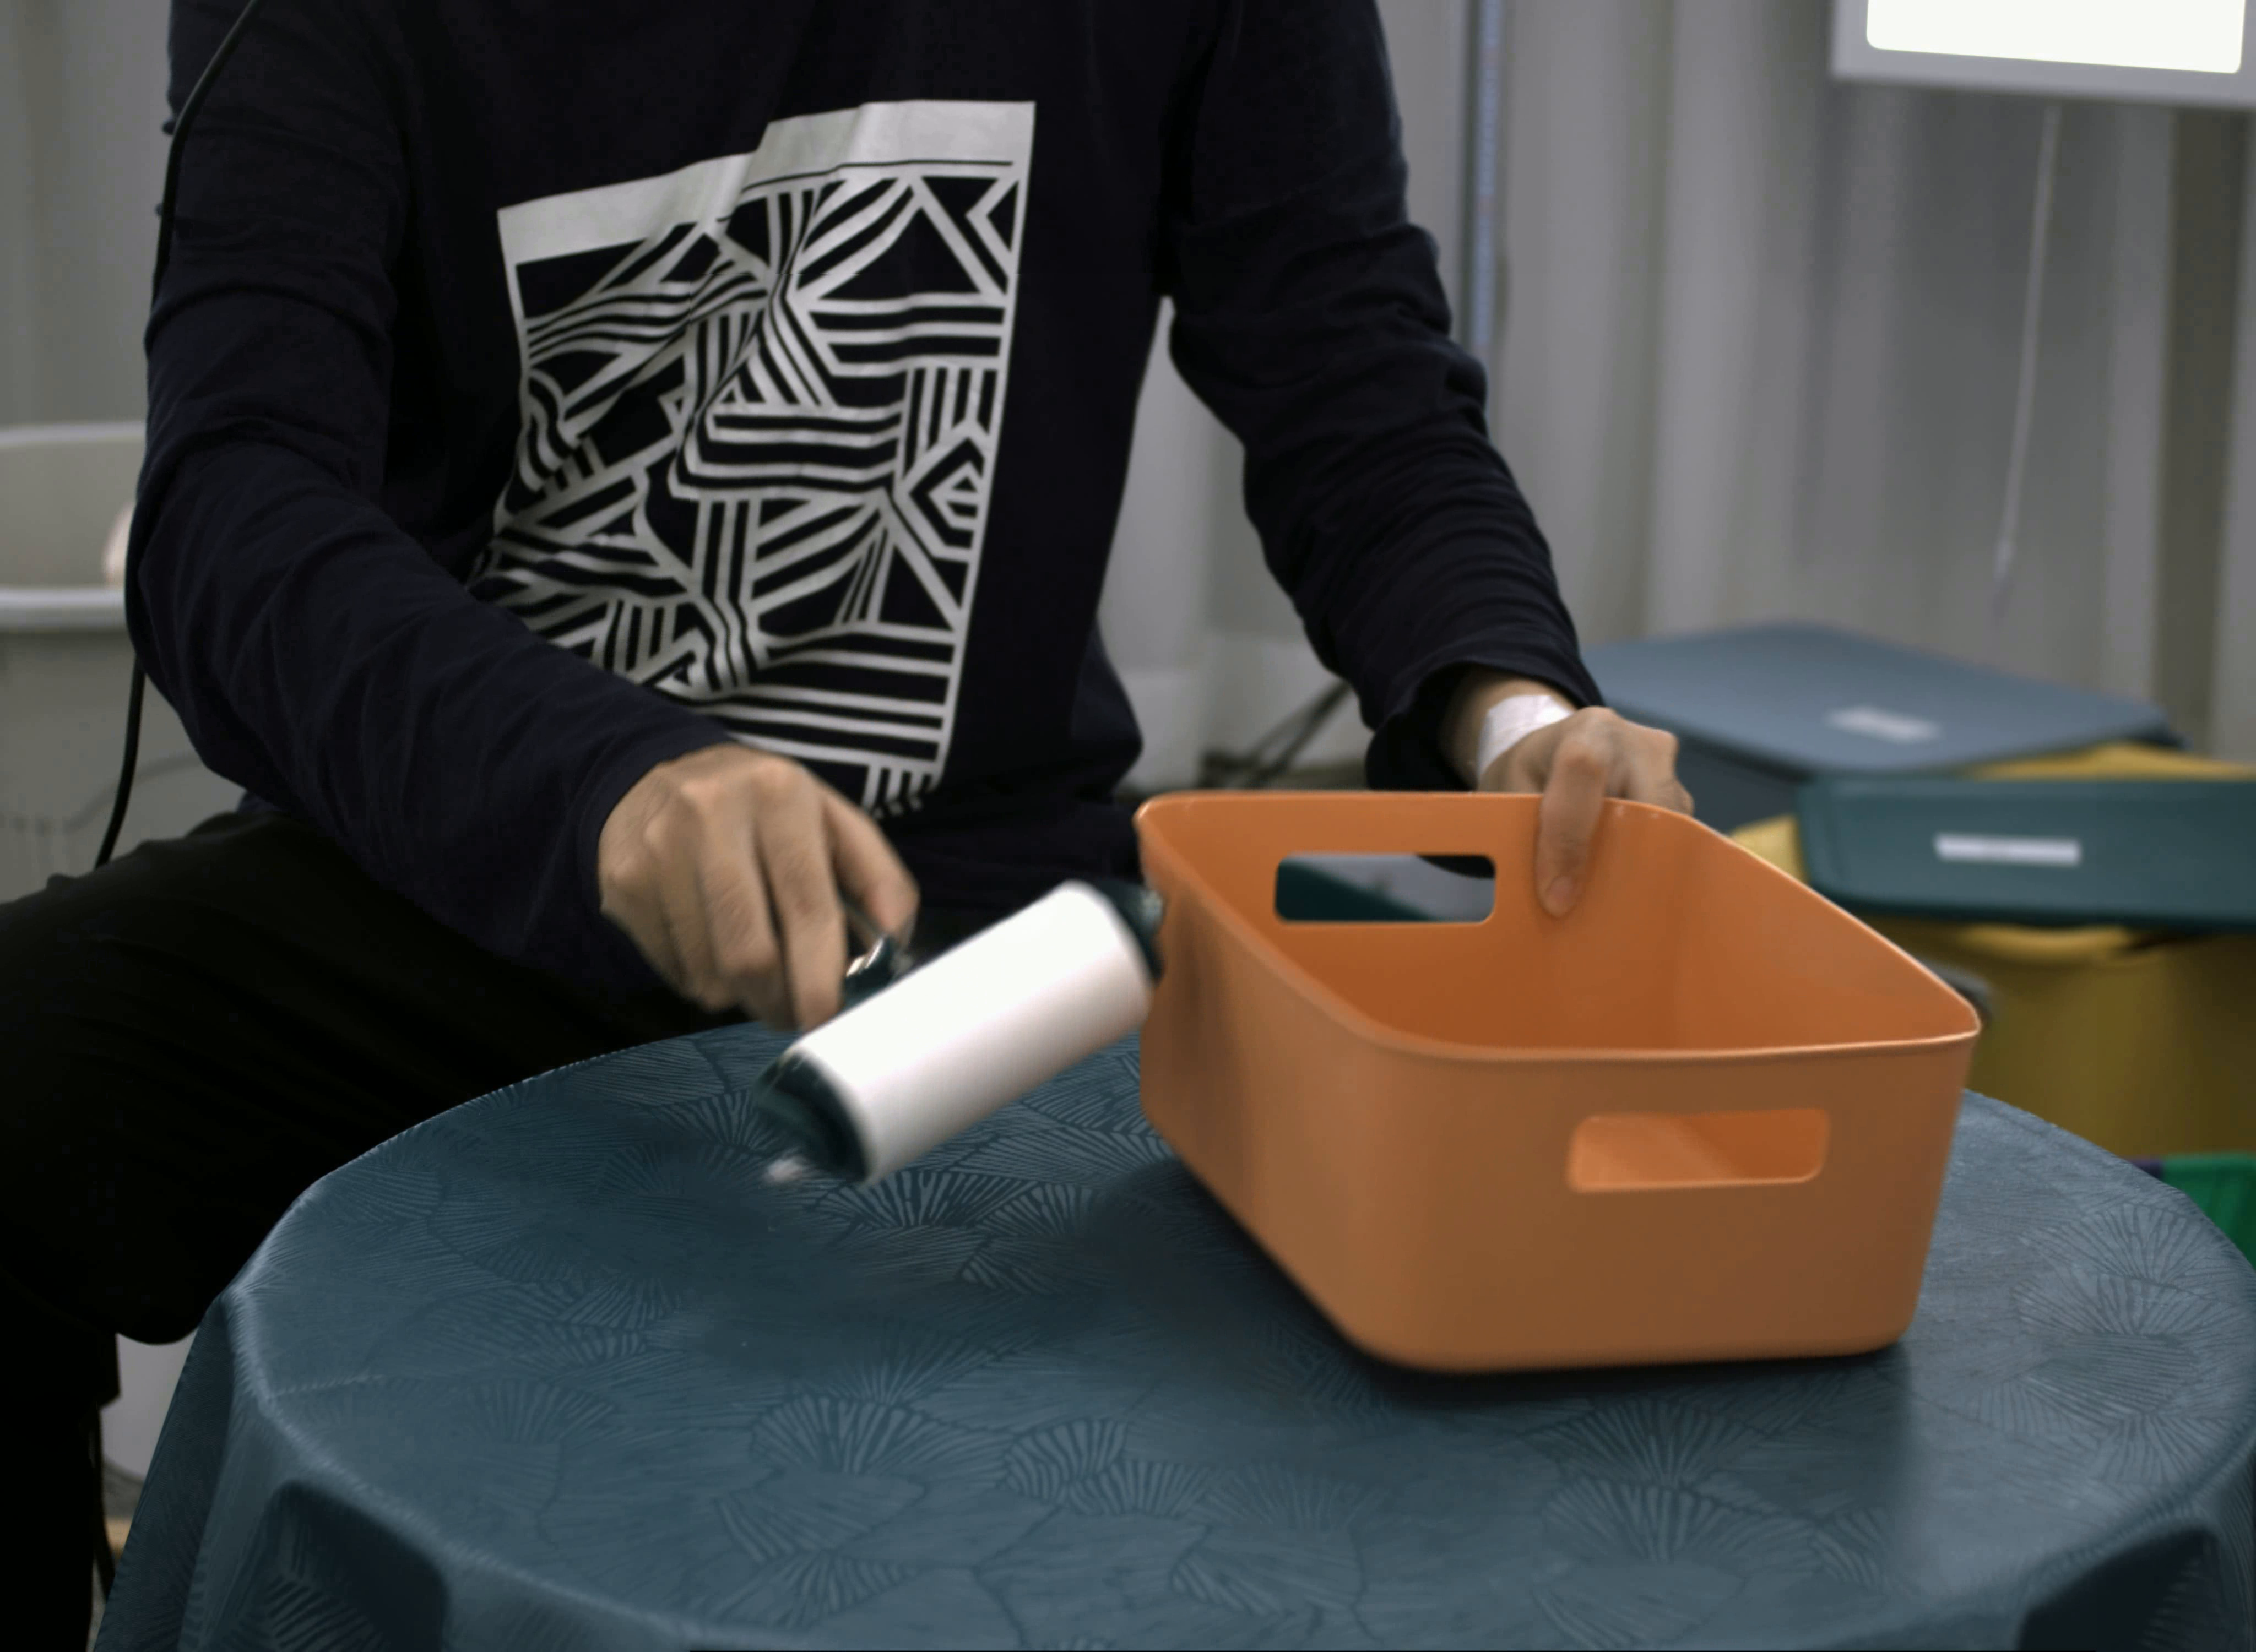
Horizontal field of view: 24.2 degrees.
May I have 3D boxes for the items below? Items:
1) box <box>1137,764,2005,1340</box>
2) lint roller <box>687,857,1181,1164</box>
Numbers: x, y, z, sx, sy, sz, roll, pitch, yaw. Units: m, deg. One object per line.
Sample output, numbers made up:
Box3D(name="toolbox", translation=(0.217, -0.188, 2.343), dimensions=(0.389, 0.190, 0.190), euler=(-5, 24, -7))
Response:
Box3D(name="box", translation=(0.118, 0.065, 1.560), dimensions=(0.200, 0.103, 0.270), euler=(3, 14, -20))
Box3D(name="lint roller", translation=(-0.083, 0.031, 1.575), dimensions=(0.134, 0.049, 0.177), euler=(-33, 37, -25))
